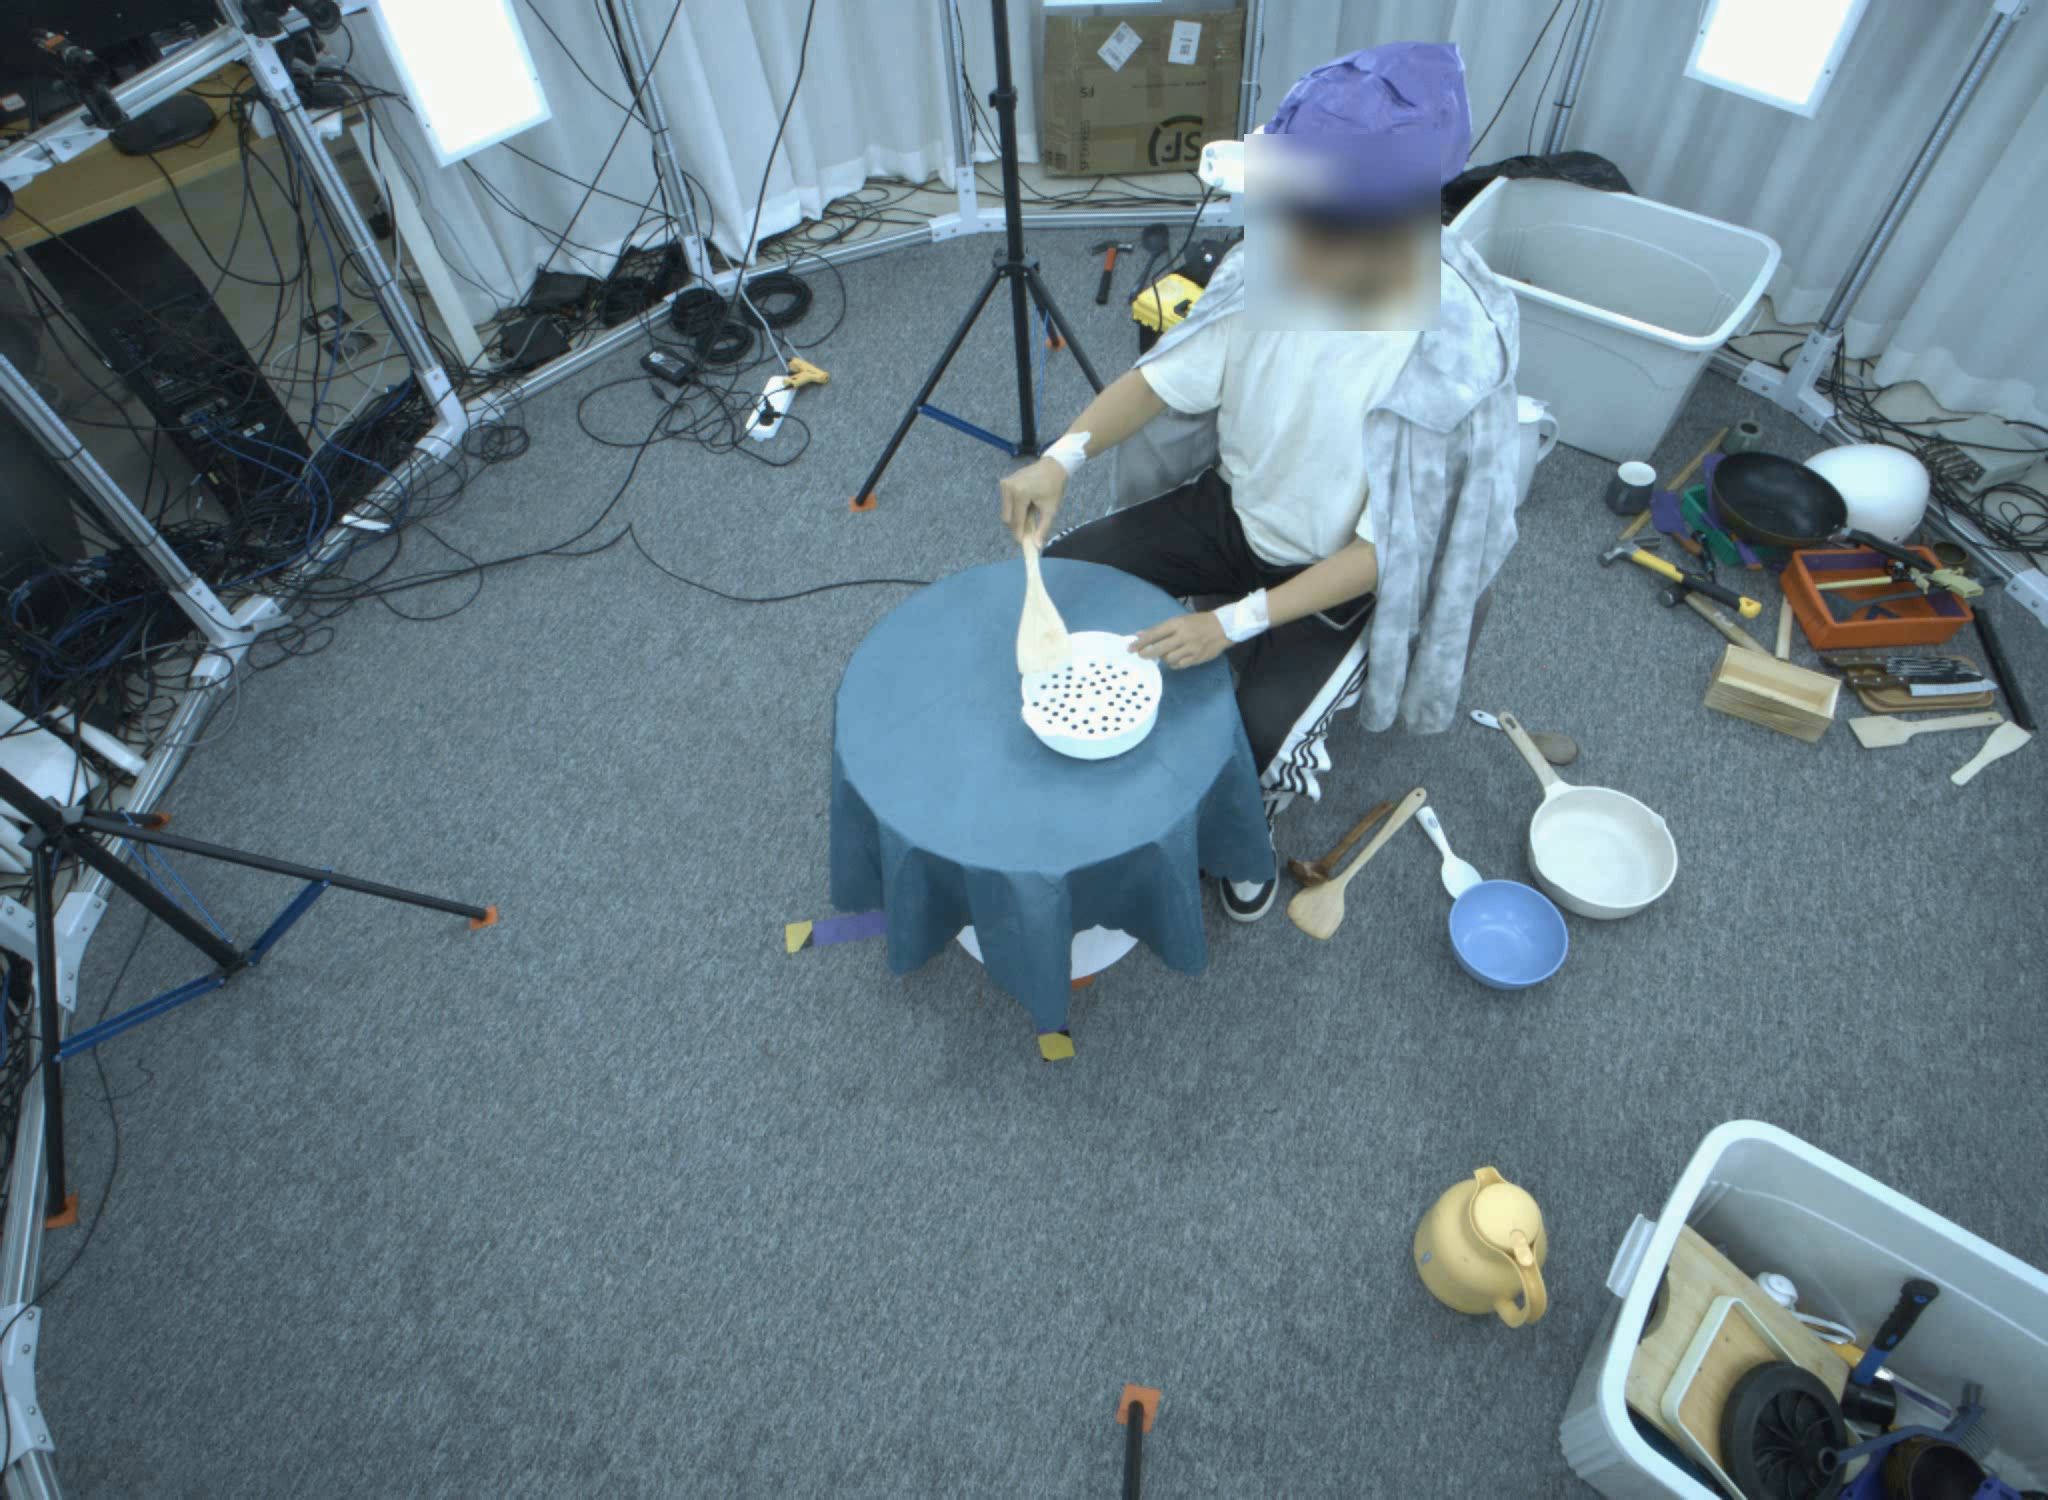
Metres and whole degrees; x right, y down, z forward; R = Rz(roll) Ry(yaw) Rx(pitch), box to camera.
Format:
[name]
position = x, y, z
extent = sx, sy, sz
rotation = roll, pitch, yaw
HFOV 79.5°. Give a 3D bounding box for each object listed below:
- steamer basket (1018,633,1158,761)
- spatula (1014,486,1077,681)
[steamer basket]
position = 0.094, -0.076, 1.800
extent = 0.232, 0.070, 0.198
rotation = -35, 62, -21
[spatula]
position = 0.017, -0.249, 1.779
extent = 0.080, 0.017, 0.324
rotation = -10, 69, 4
